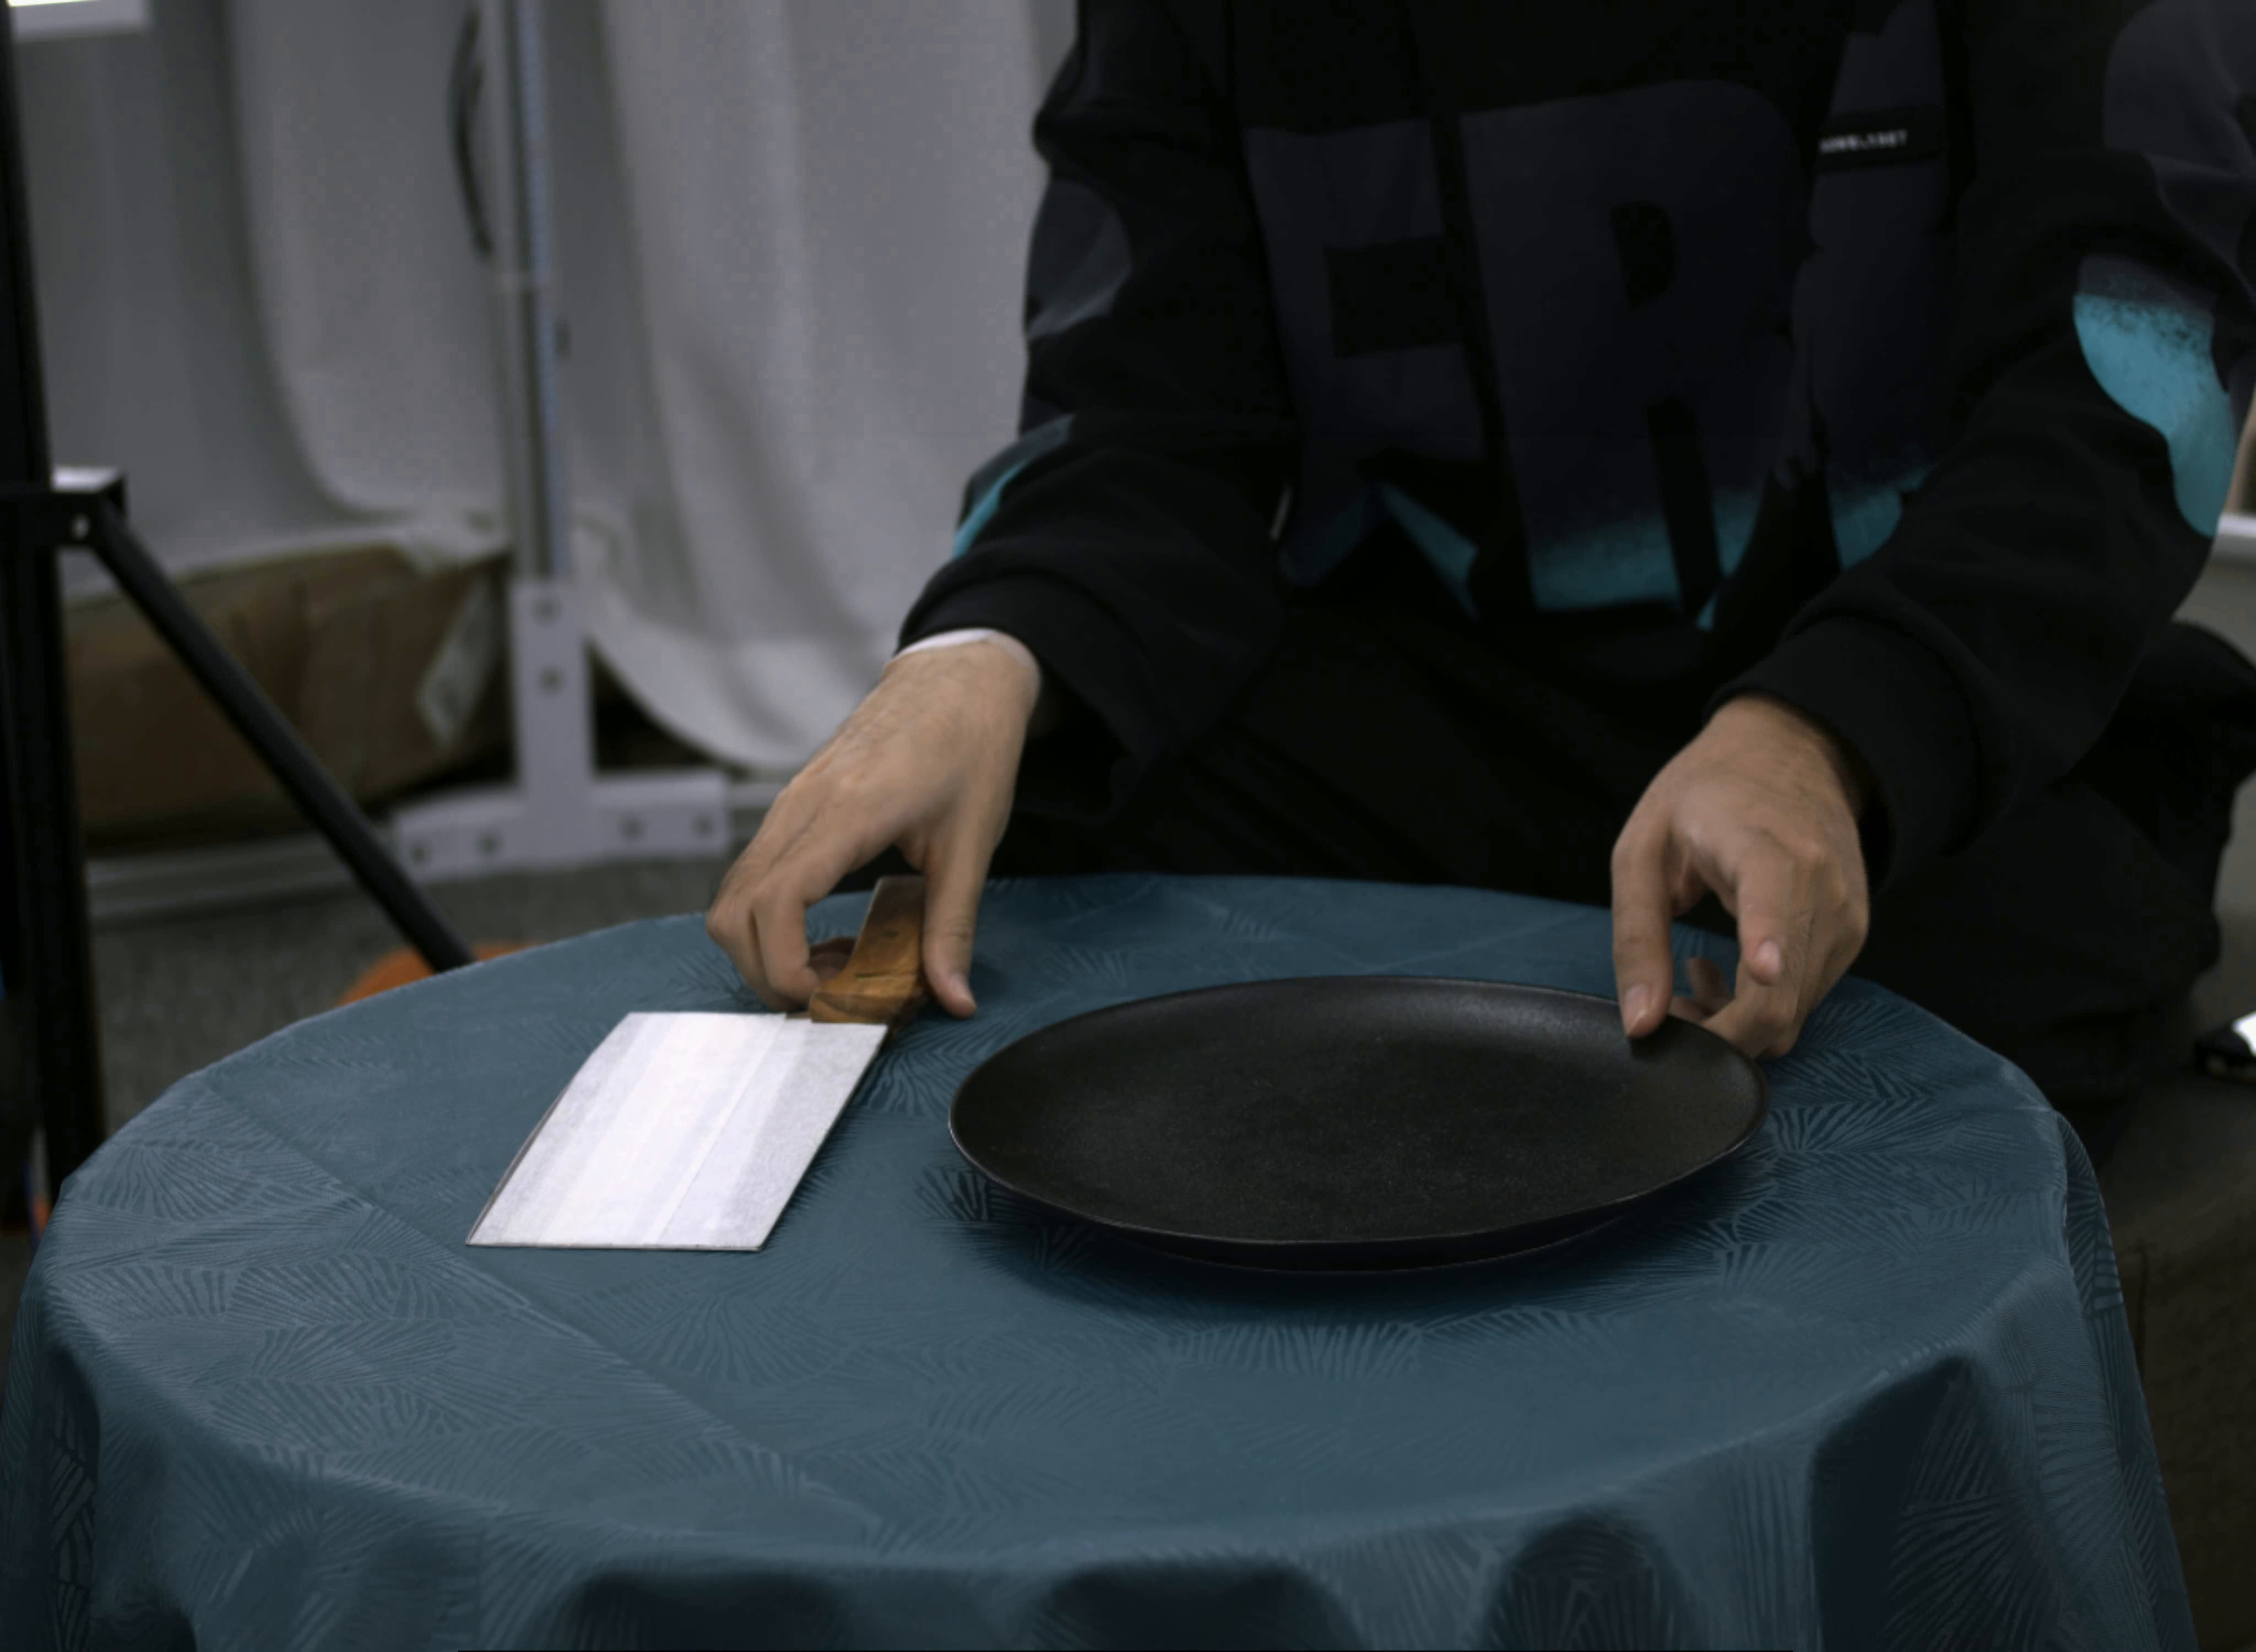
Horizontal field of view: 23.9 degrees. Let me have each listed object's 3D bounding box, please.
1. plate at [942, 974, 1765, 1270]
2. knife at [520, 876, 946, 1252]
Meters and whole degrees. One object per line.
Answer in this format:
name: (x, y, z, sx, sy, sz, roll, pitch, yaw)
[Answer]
plate: (0.066, 0.090, 1.566, 0.243, 0.023, 0.245, -3, 16, -1)
knife: (-0.123, 0.073, 1.674, 0.093, 0.021, 0.305, -1, 18, 10)
